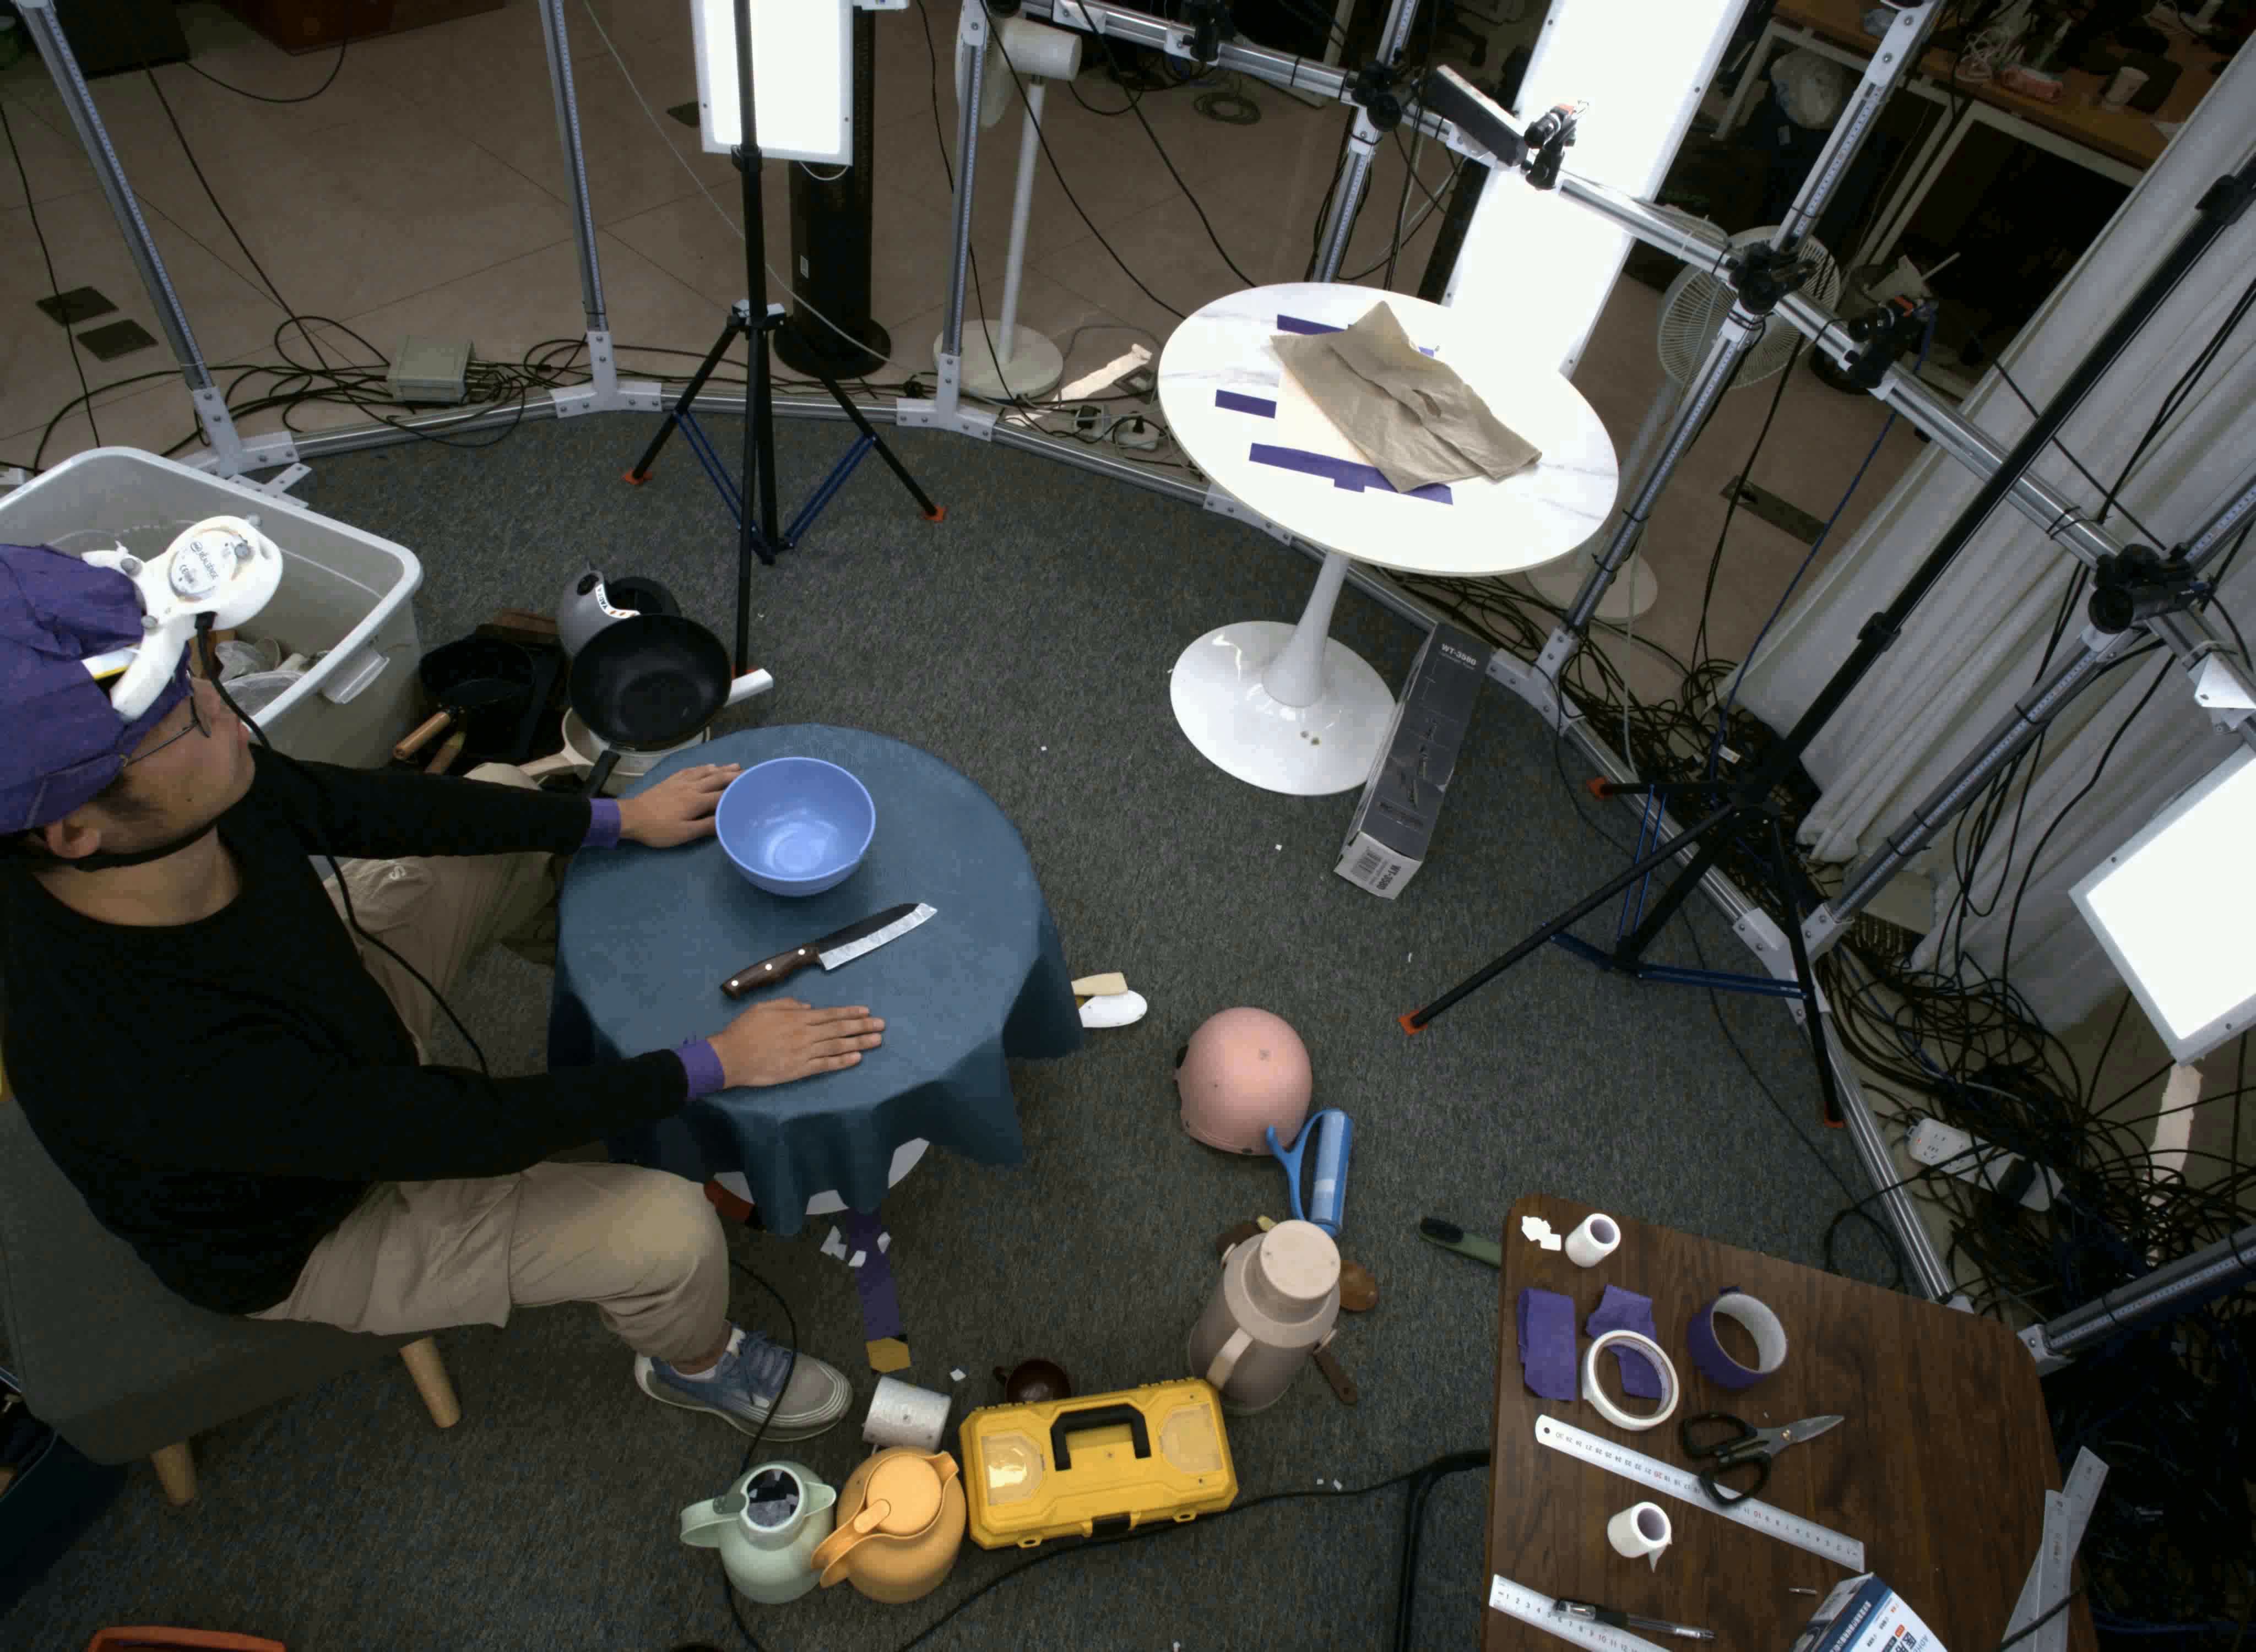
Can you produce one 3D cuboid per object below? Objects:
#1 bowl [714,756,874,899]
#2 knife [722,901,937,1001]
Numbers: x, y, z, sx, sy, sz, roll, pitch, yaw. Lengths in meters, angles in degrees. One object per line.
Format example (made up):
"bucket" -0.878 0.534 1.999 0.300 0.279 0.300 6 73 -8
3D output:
"bowl" -0.422 0.017 1.652 0.196 0.097 0.193 7 54 -7
"knife" -0.366 0.150 1.614 0.291 0.020 0.049 -22 66 -30
